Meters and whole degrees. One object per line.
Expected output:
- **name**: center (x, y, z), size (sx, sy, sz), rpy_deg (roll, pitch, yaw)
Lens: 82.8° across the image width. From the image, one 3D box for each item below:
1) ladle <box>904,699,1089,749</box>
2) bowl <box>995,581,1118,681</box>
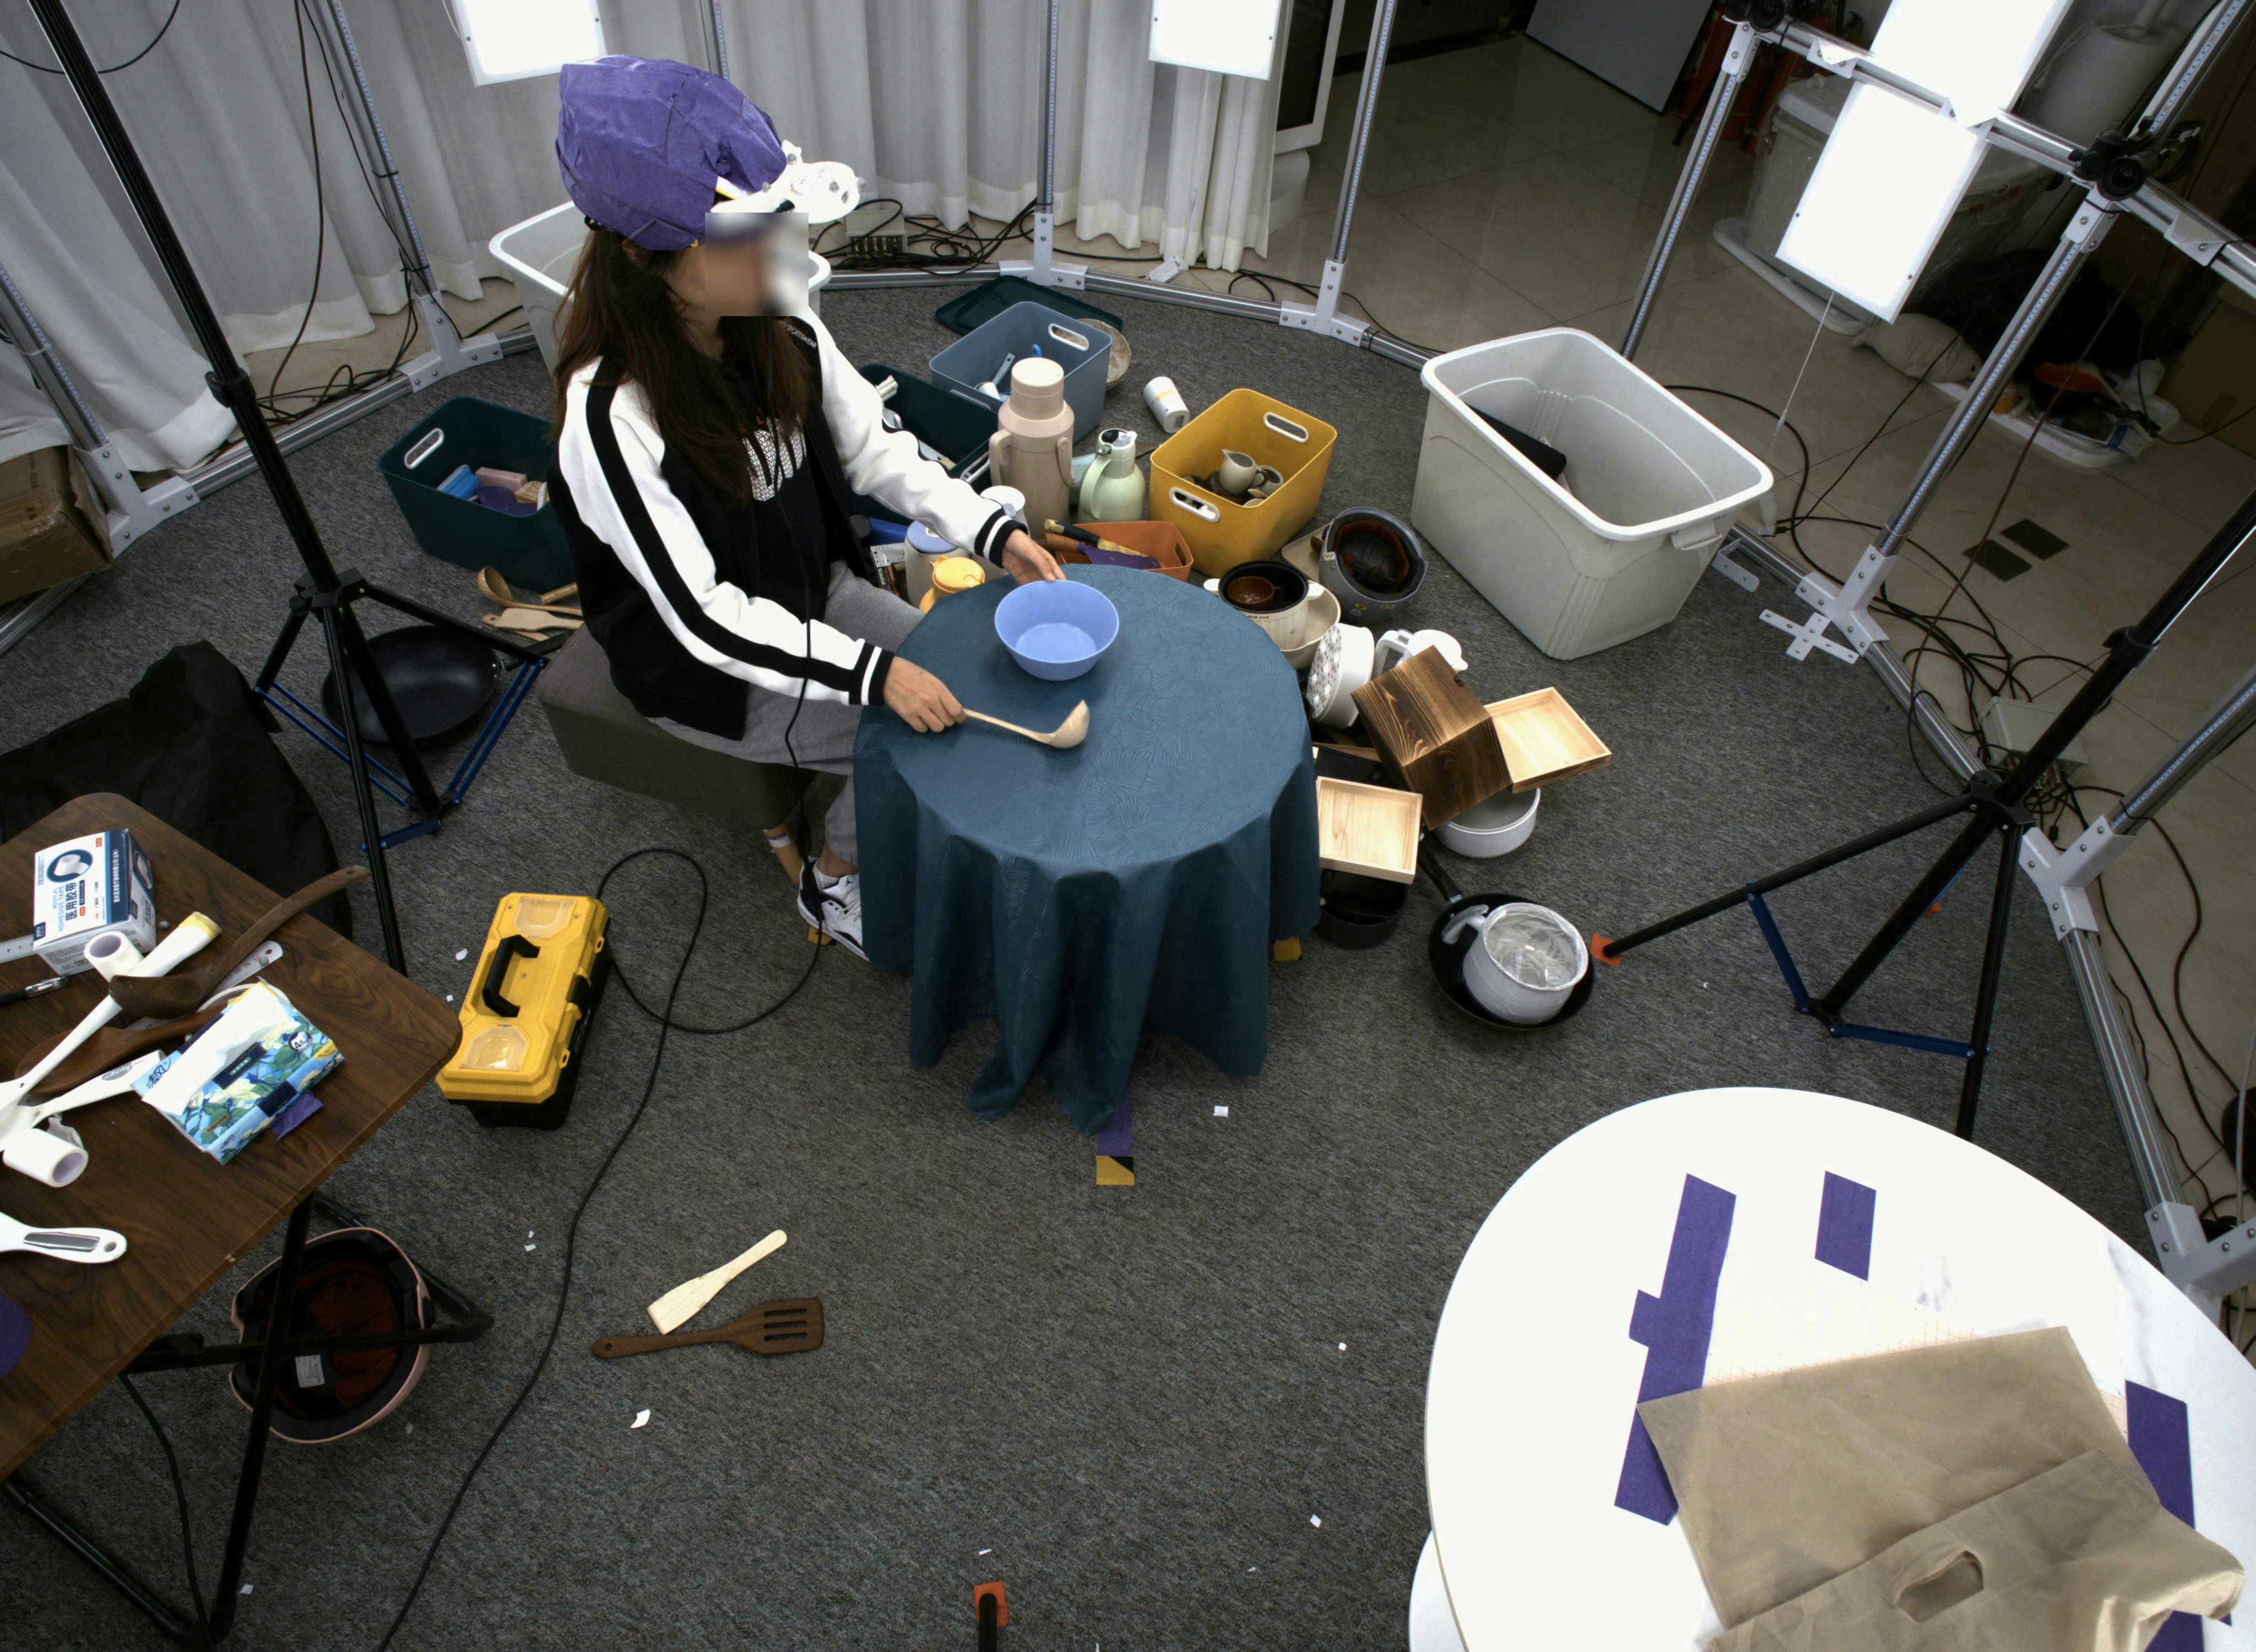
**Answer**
- **ladle**: center (-0.179, -0.164, 1.748), size (0.255, 0.071, 0.073), rpy_deg (14, 31, 5)
- **bowl**: center (-0.104, -0.272, 1.854), size (0.176, 0.068, 0.180), rpy_deg (2, 48, -3)
